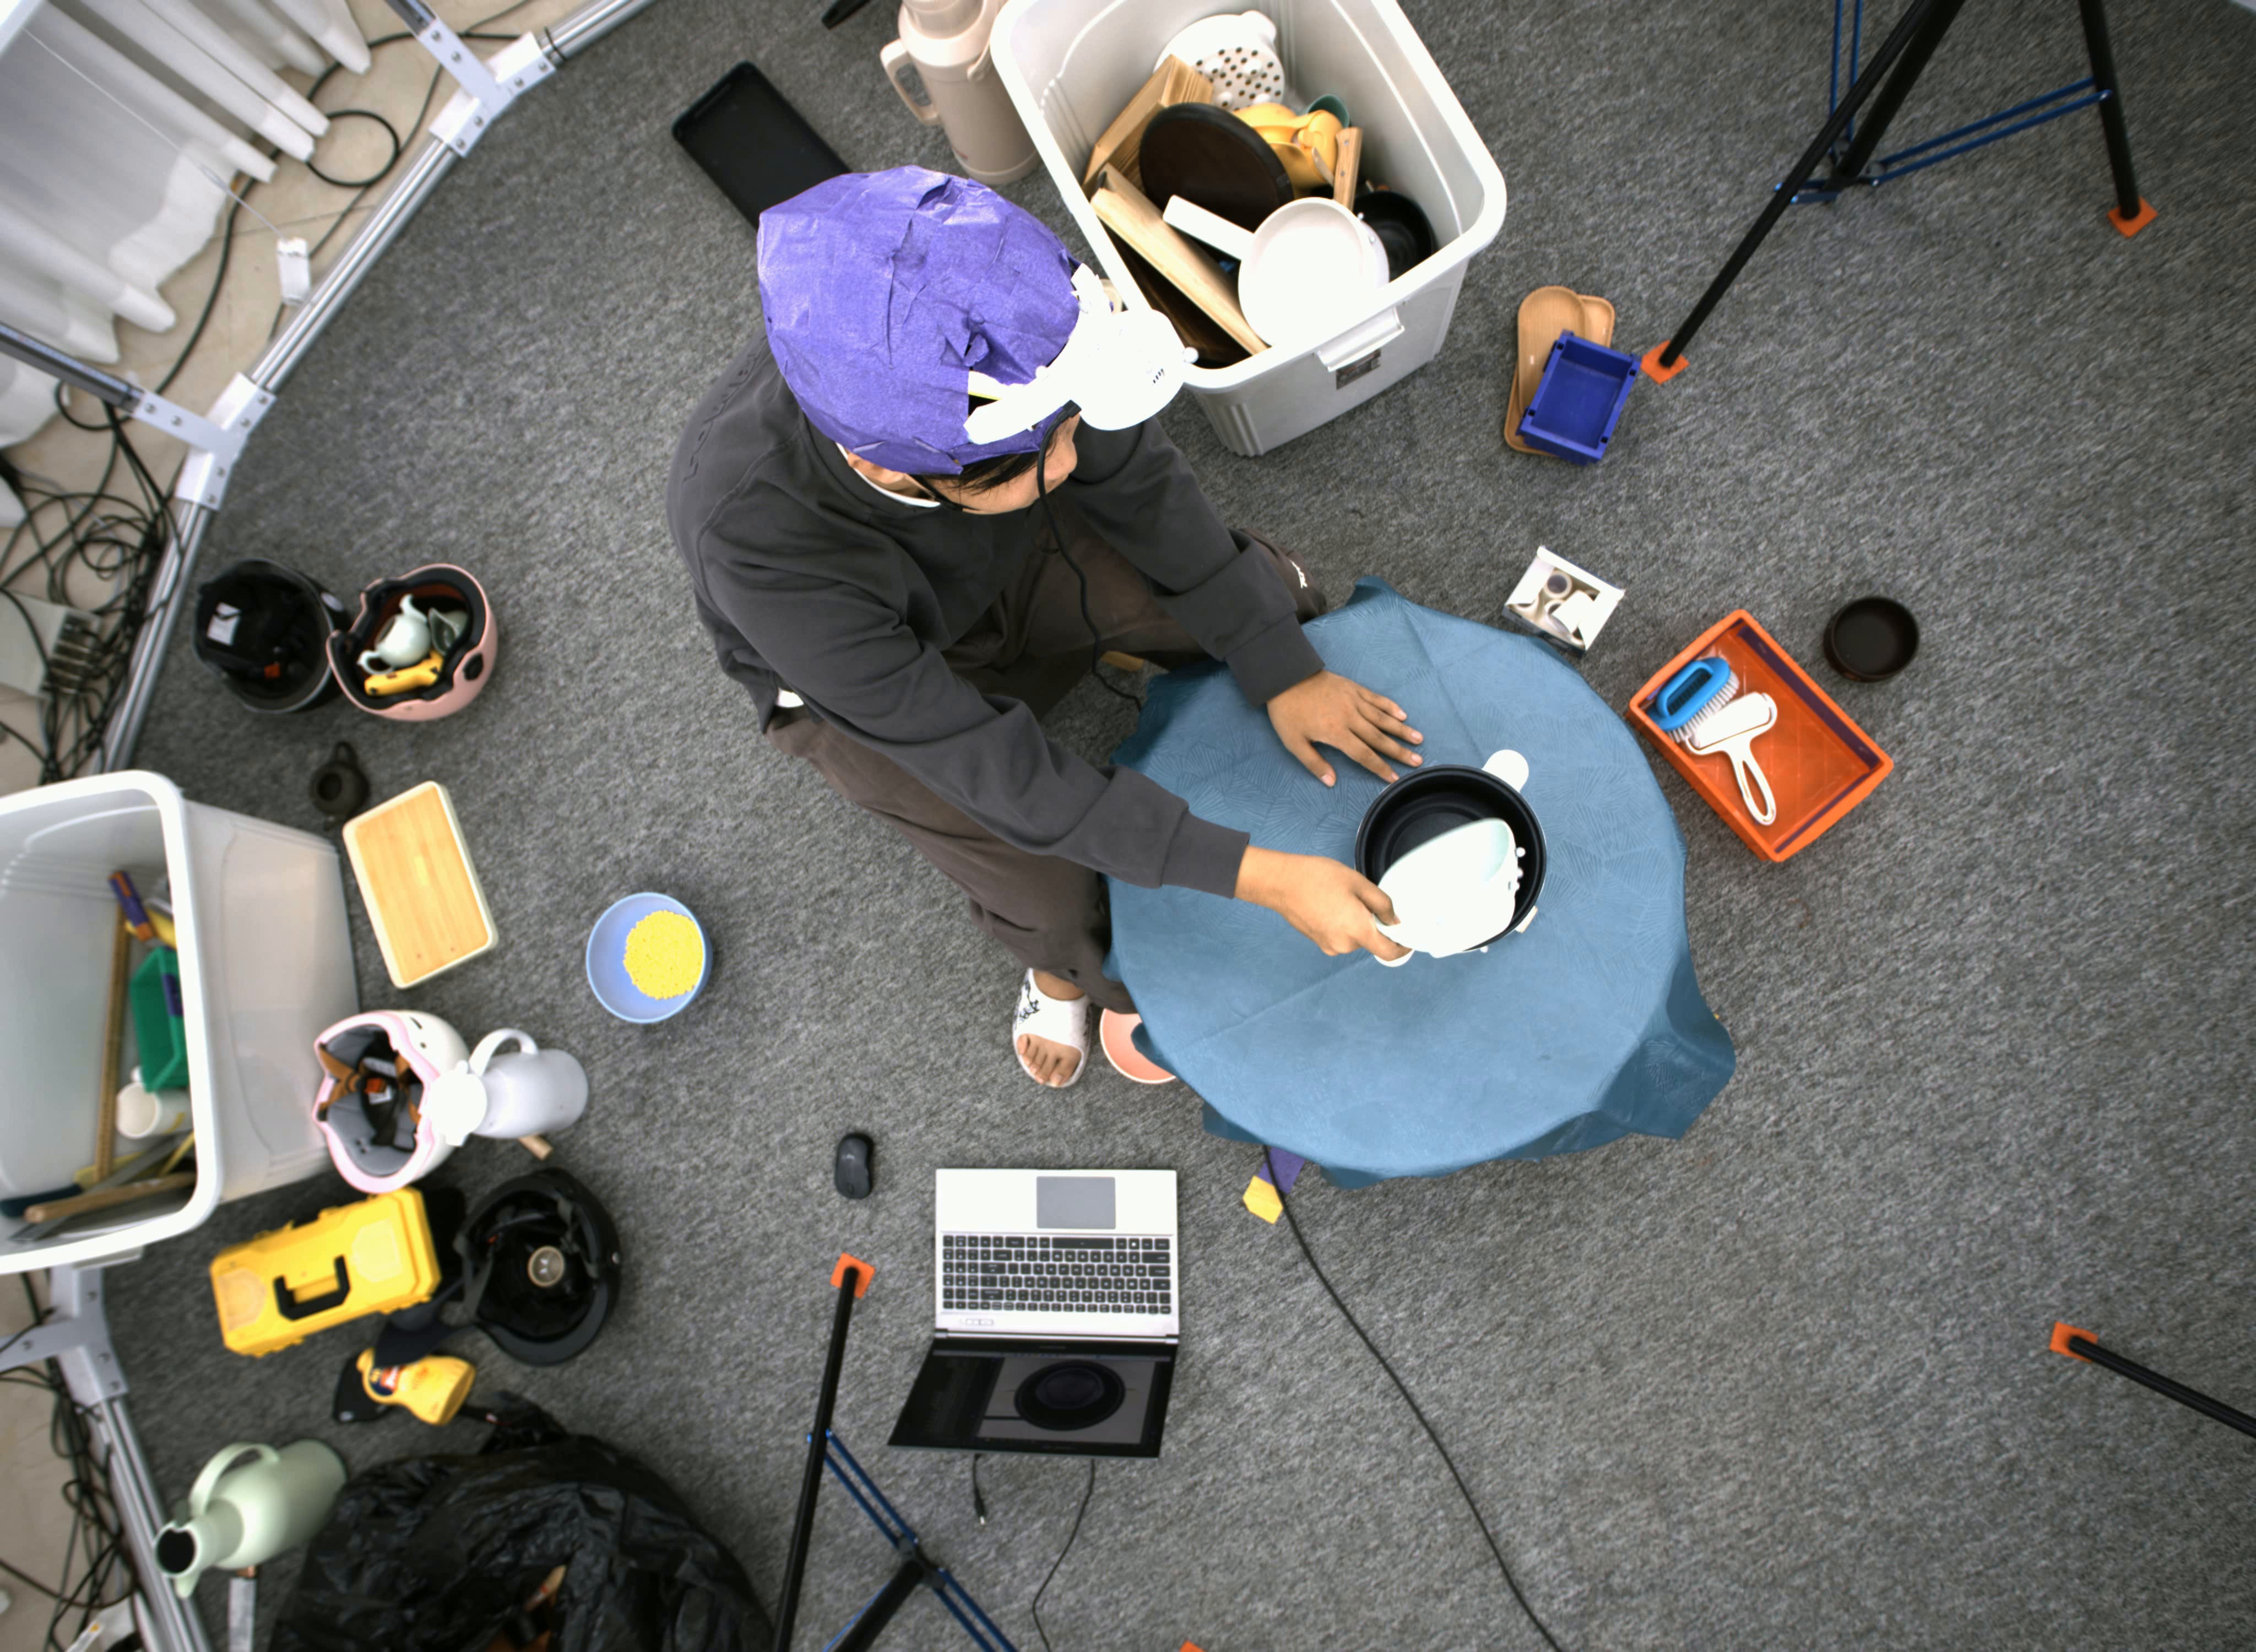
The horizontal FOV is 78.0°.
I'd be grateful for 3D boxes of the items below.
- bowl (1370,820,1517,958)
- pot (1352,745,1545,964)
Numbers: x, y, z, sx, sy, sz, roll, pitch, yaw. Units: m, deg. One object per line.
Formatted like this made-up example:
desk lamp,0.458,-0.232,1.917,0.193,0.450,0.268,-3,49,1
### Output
bowl,0.289,0.062,1.218,0.152,0.149,0.059,-36,109,6
pot,0.324,0.035,1.381,0.190,0.142,0.241,32,94,15
